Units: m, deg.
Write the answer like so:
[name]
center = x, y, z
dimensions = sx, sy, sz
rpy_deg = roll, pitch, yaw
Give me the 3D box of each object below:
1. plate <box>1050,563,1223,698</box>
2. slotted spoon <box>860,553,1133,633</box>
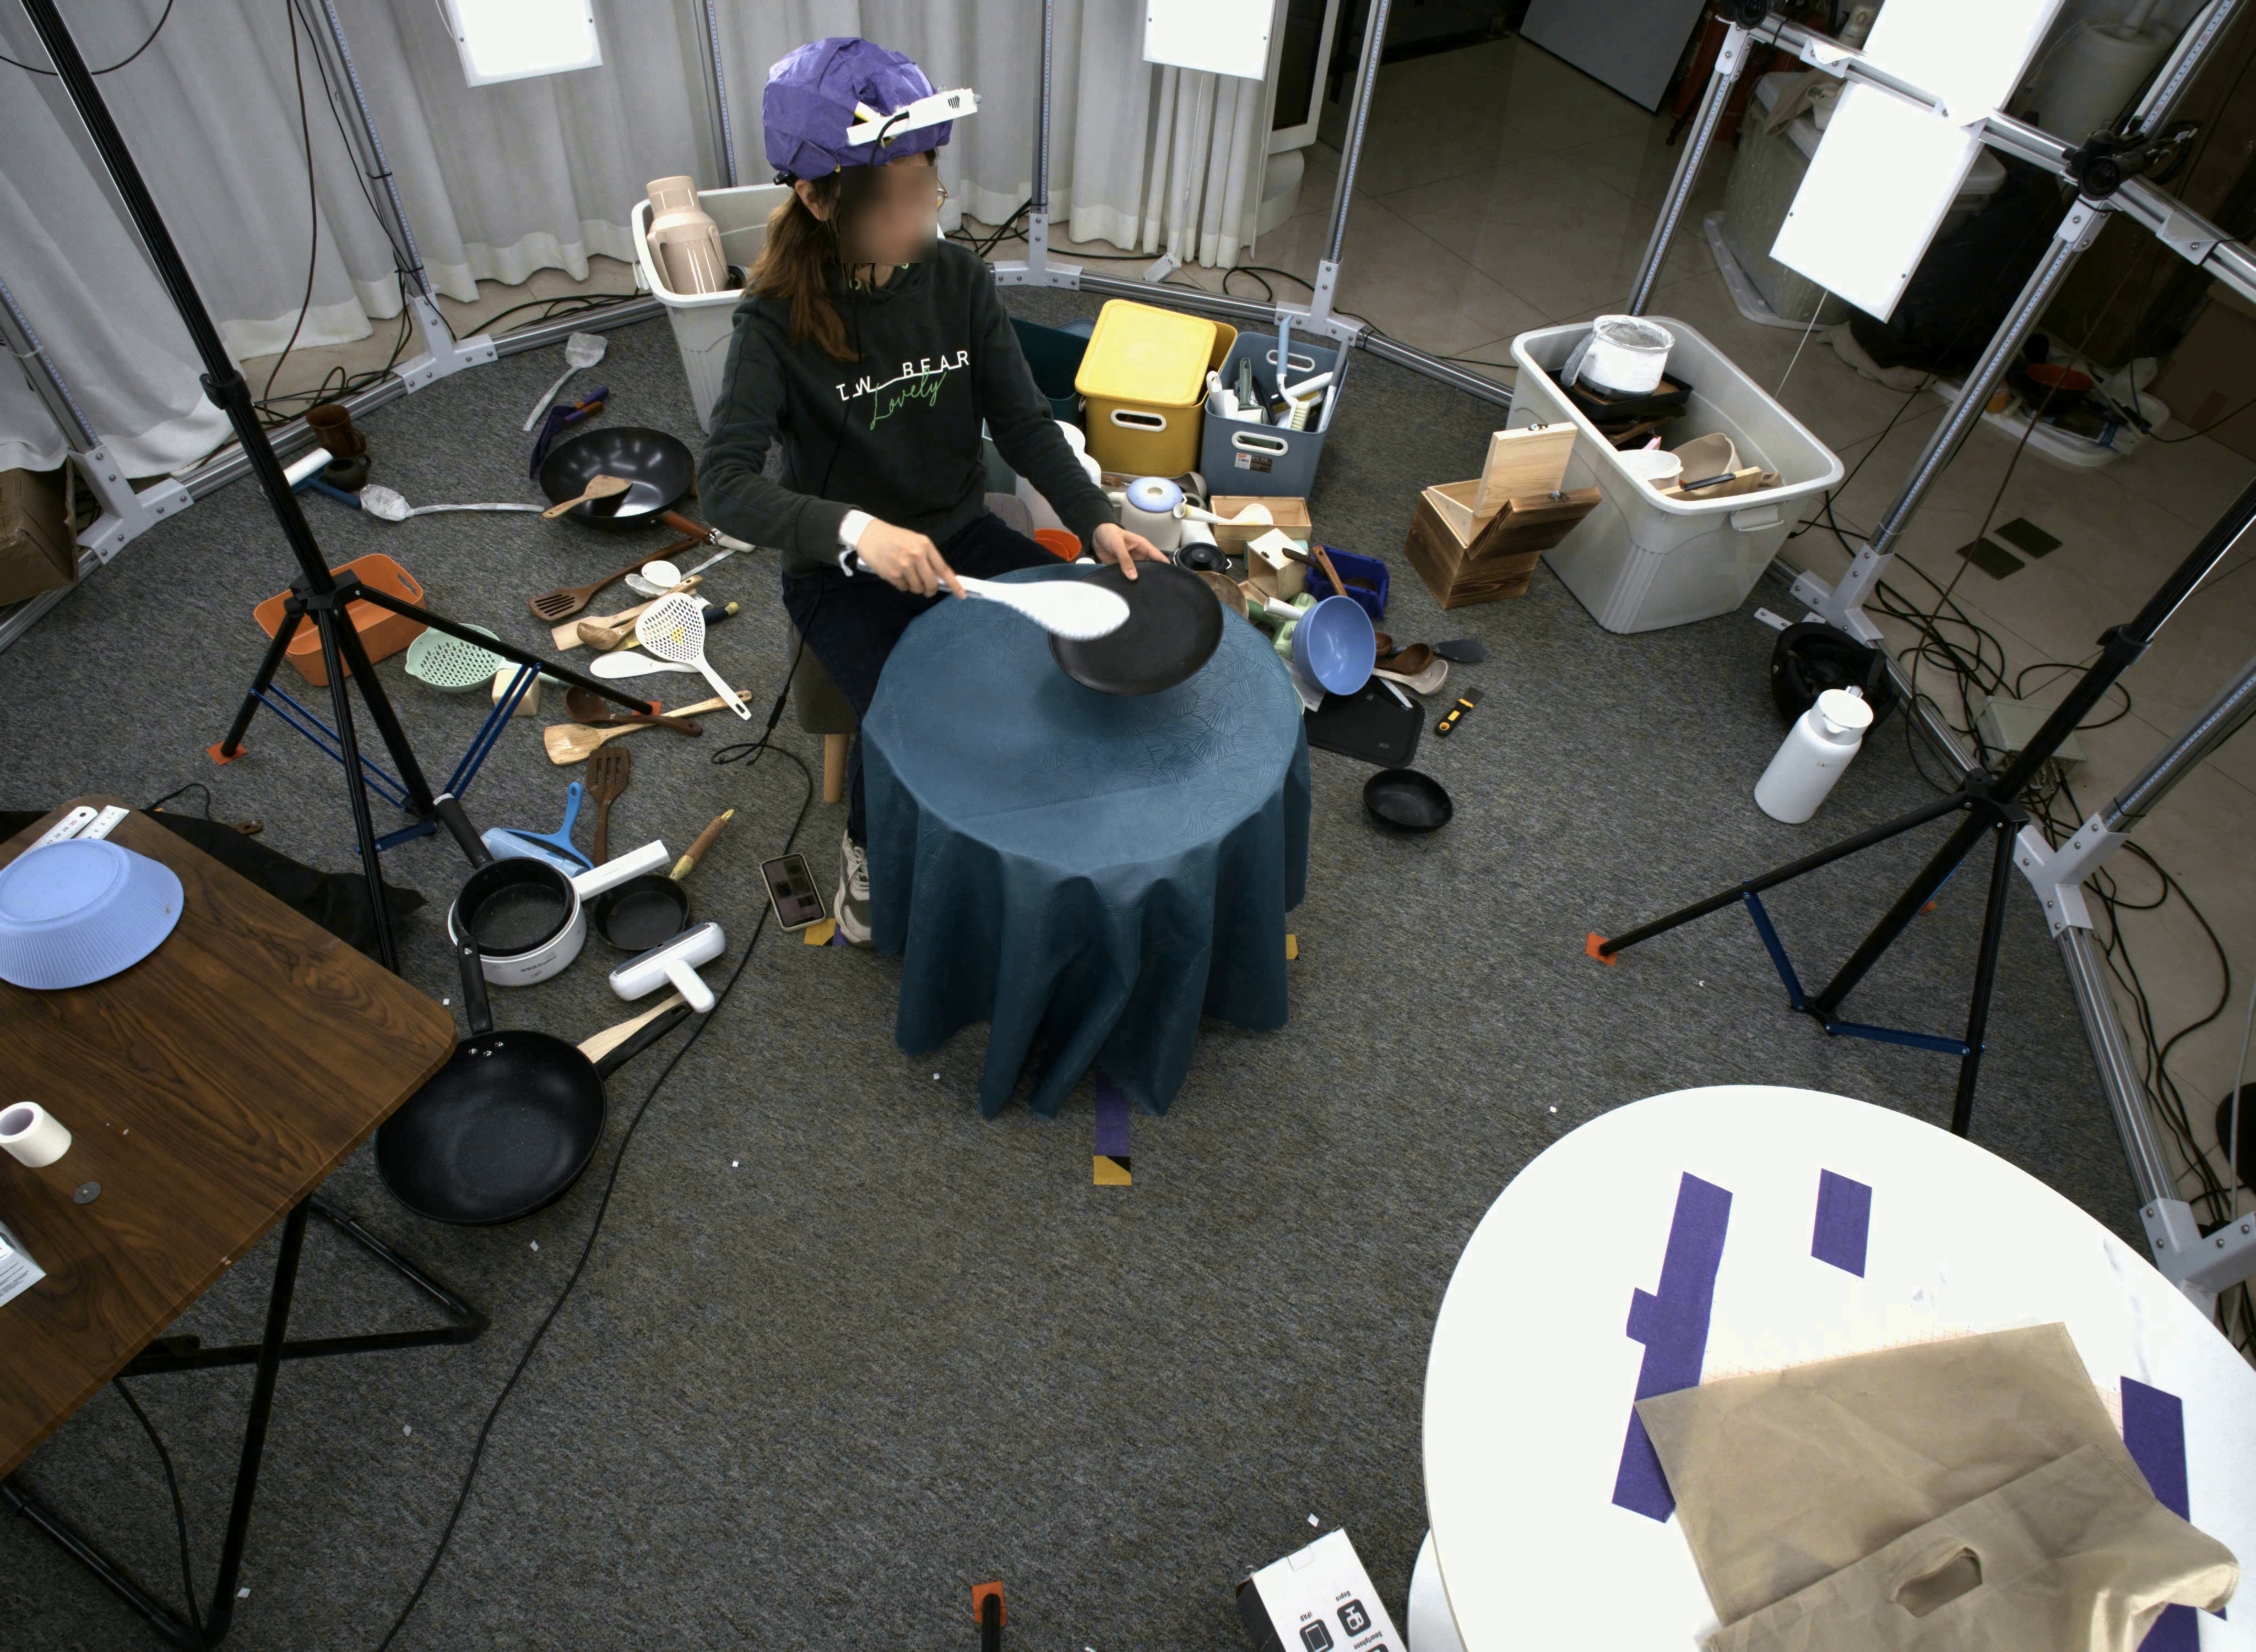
[plate]
center = 0.013, -0.272, 1.795
dimensions = 0.244, 0.023, 0.250
rpy_deg = -4, 56, 6
[slotted spoon]
center = -0.166, -0.305, 1.653
dimensions = 0.348, 0.134, 0.046
rpy_deg = 14, 73, -9
